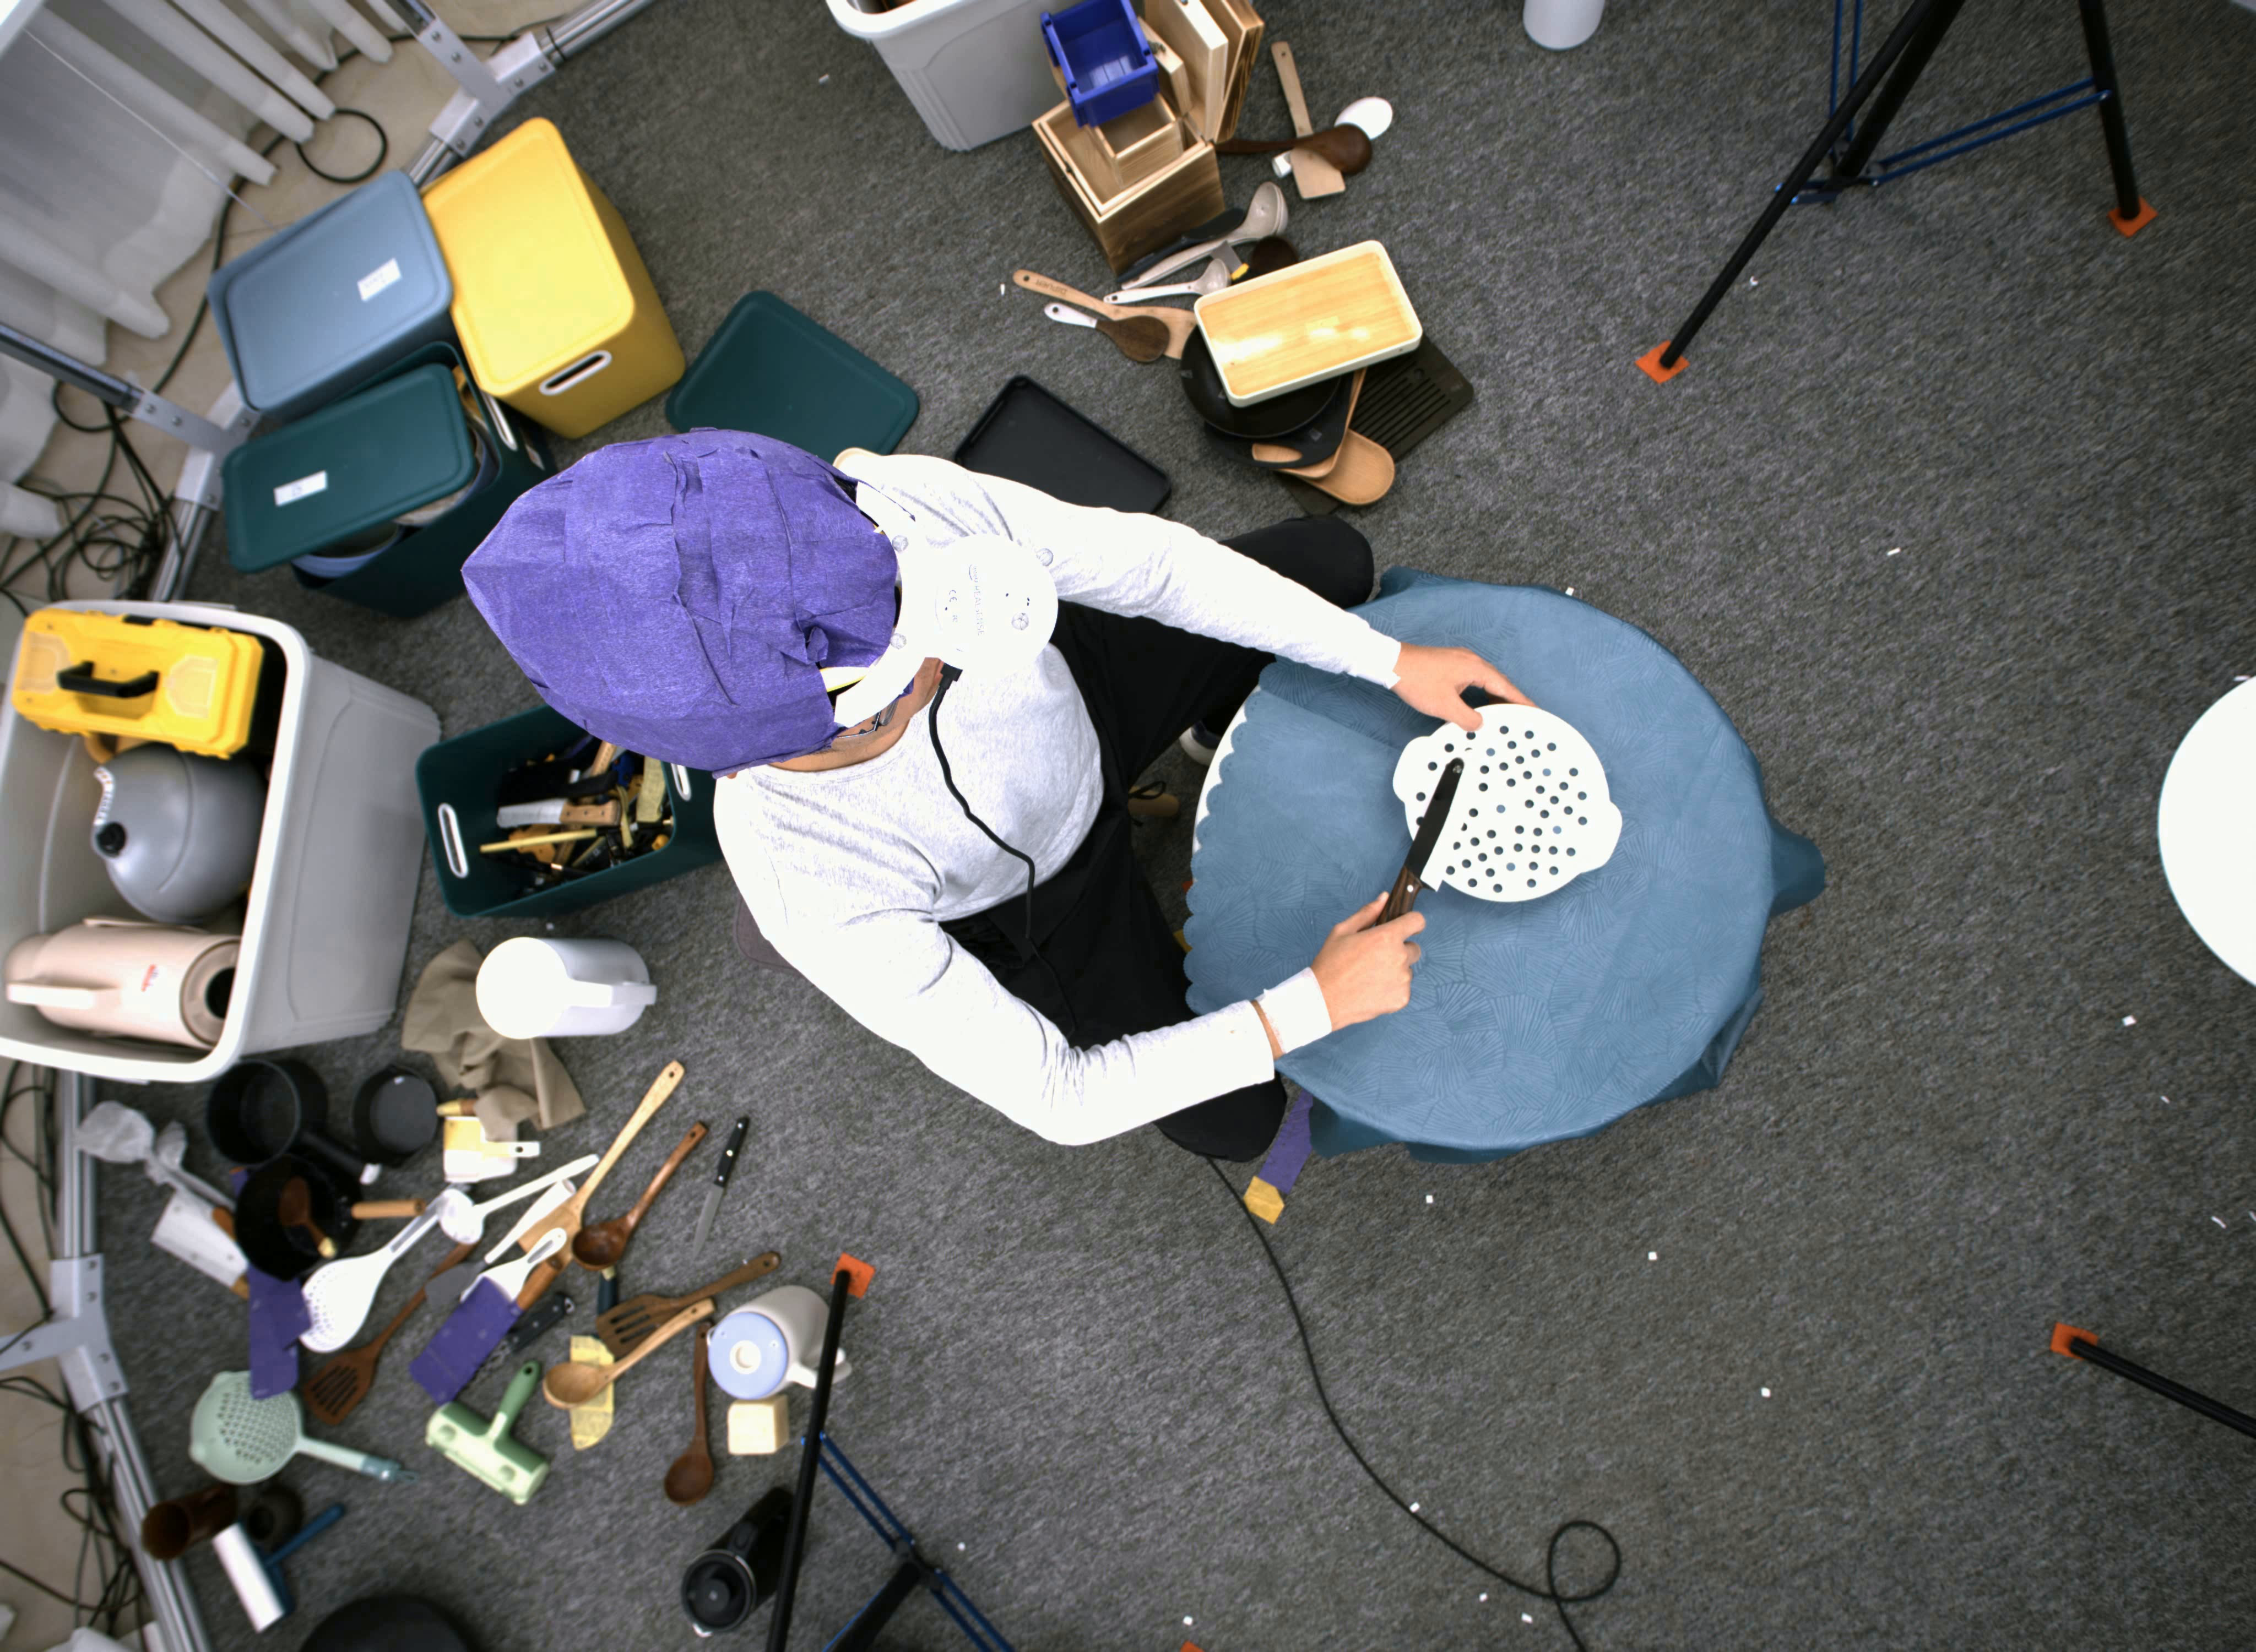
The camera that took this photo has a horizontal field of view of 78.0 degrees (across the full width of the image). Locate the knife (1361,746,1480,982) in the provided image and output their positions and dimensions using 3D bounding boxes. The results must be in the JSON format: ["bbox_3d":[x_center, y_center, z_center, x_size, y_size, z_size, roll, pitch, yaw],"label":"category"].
[{"bbox_3d":[0.295,0.032,1.367,0.050,0.020,0.284,34,70,-14],"label":"knife"}]

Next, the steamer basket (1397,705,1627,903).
[{"bbox_3d":[0.390,-0.022,1.409,0.230,0.069,0.202,22,90,12],"label":"steamer basket"}]
